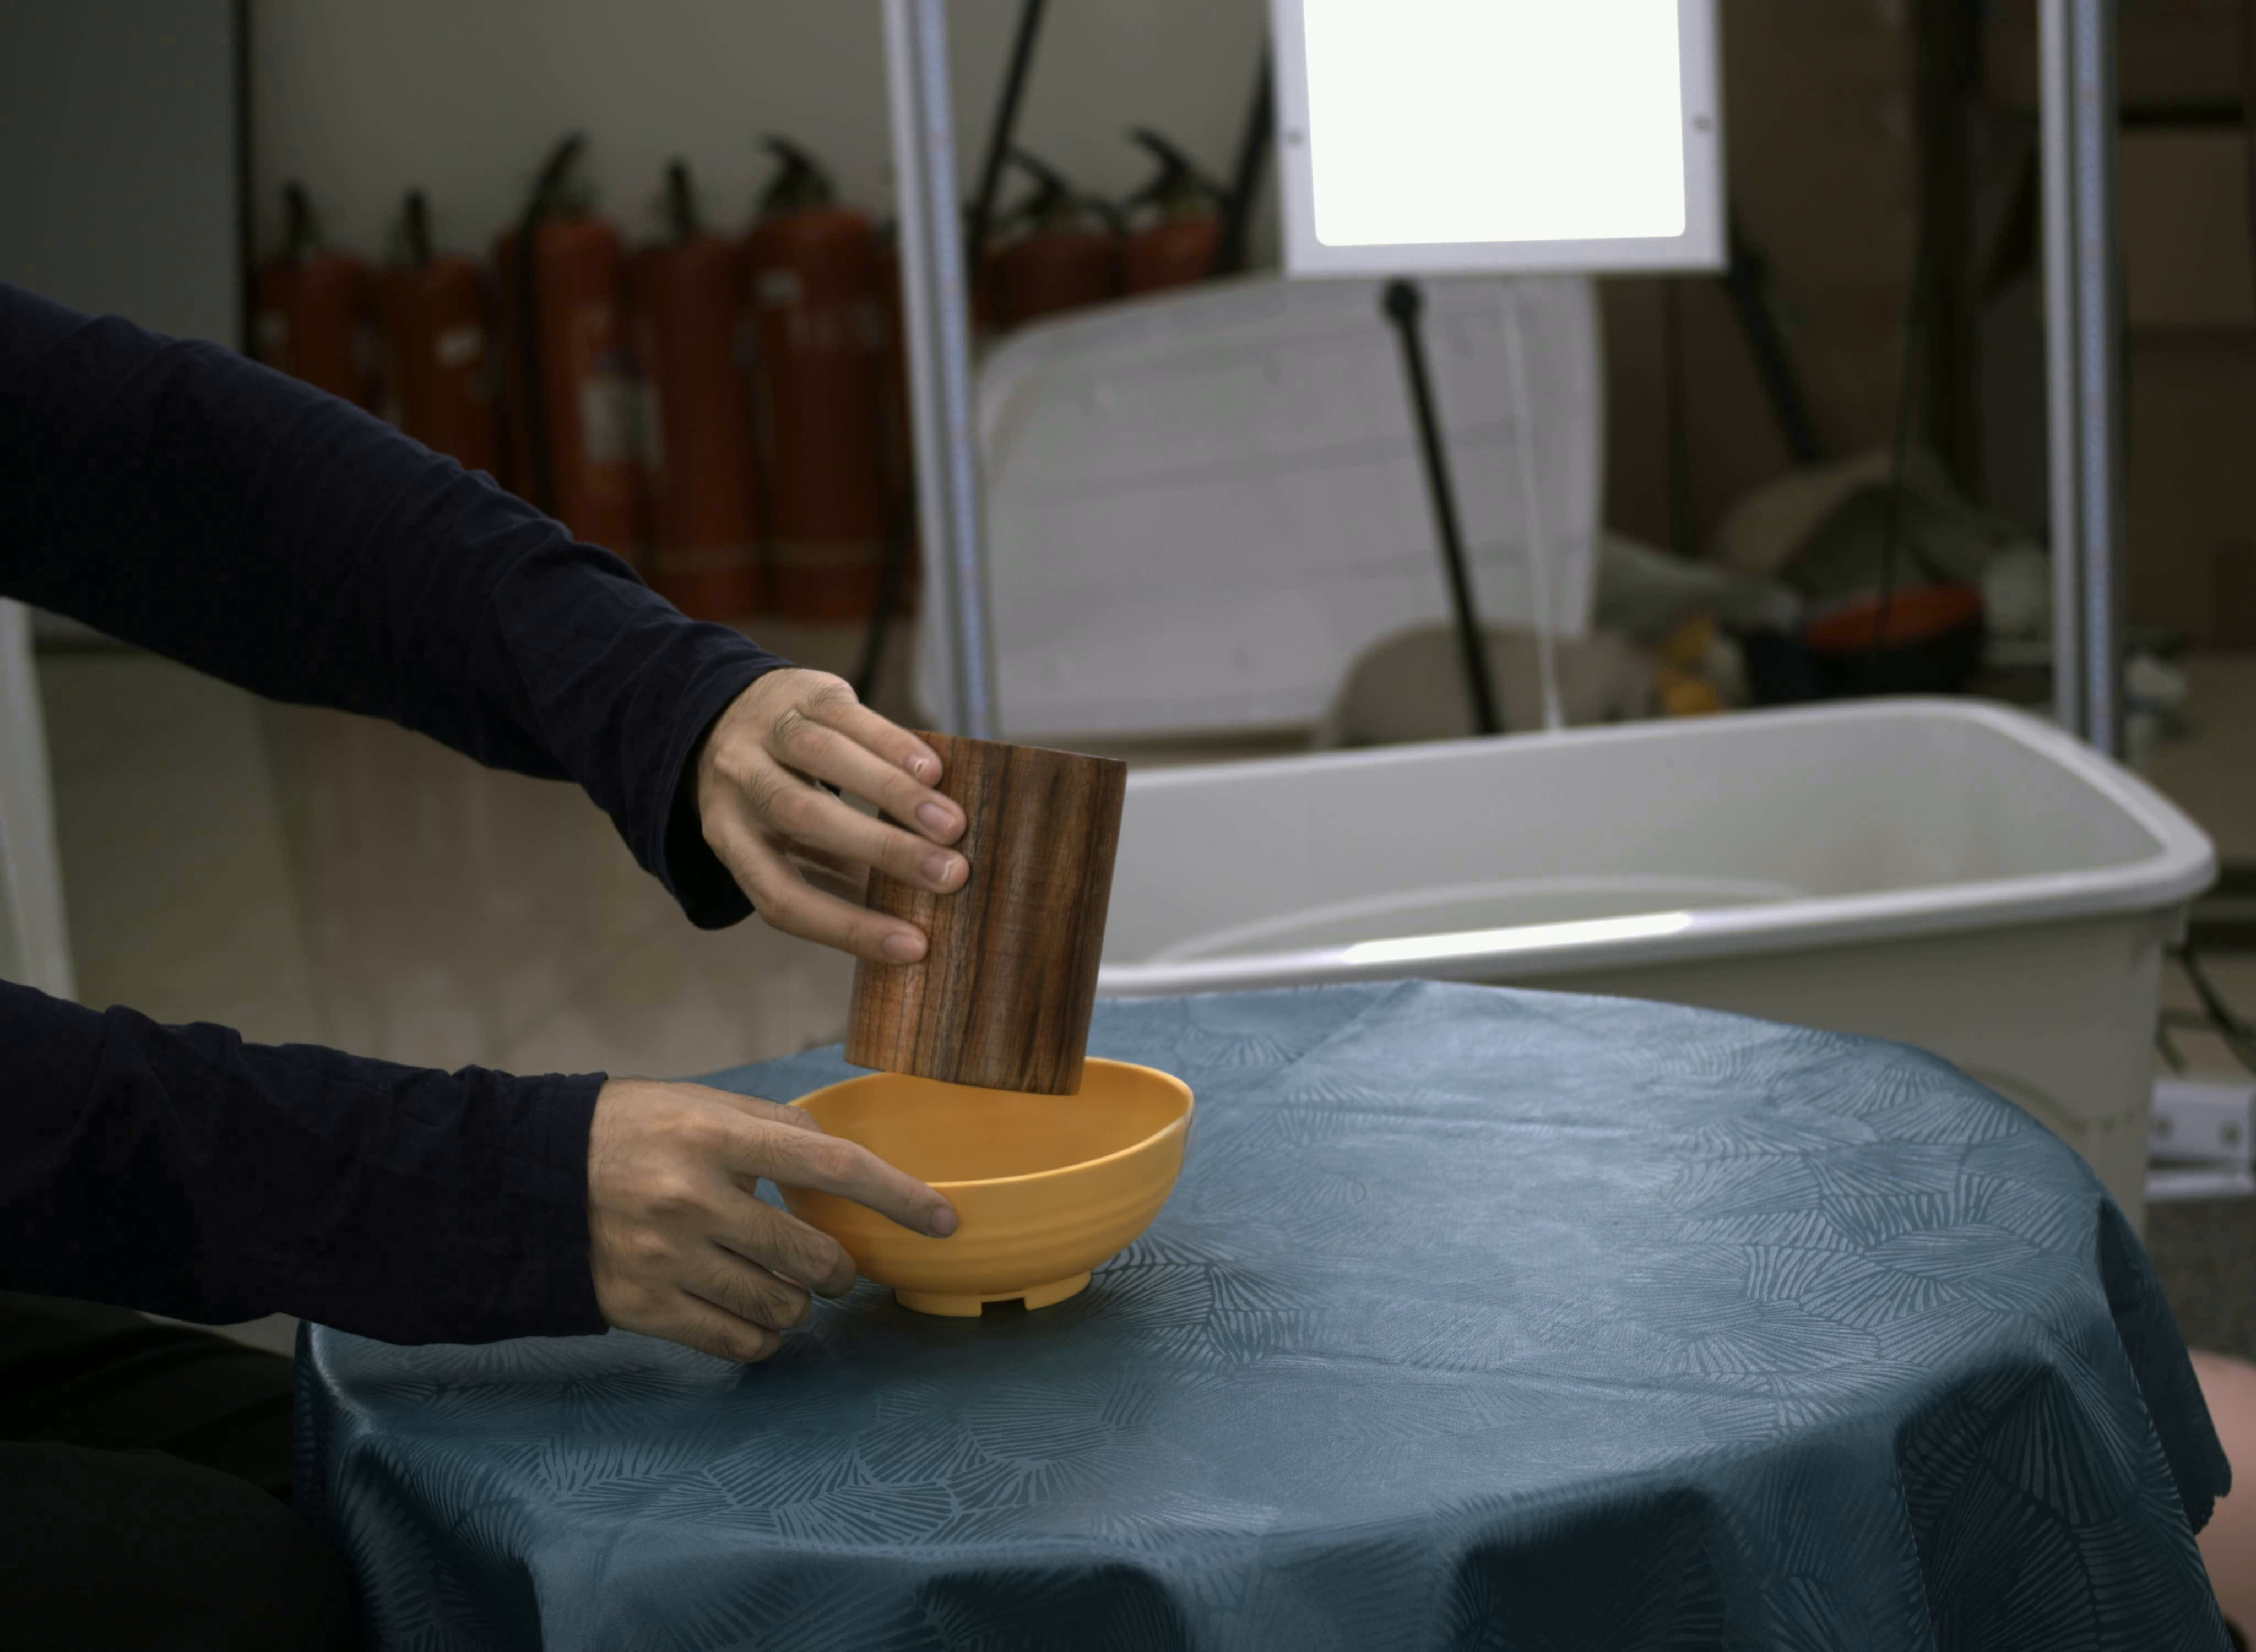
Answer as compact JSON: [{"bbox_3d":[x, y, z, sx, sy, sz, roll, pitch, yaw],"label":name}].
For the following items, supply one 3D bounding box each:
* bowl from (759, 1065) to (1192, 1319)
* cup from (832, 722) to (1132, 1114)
[{"bbox_3d":[-0.047,0.123,1.806,0.145,0.060,0.145,-6,12,0],"label":"bowl"},{"bbox_3d":[-0.046,0.030,1.801,0.087,0.119,0.088,10,1,-2],"label":"cup"}]
